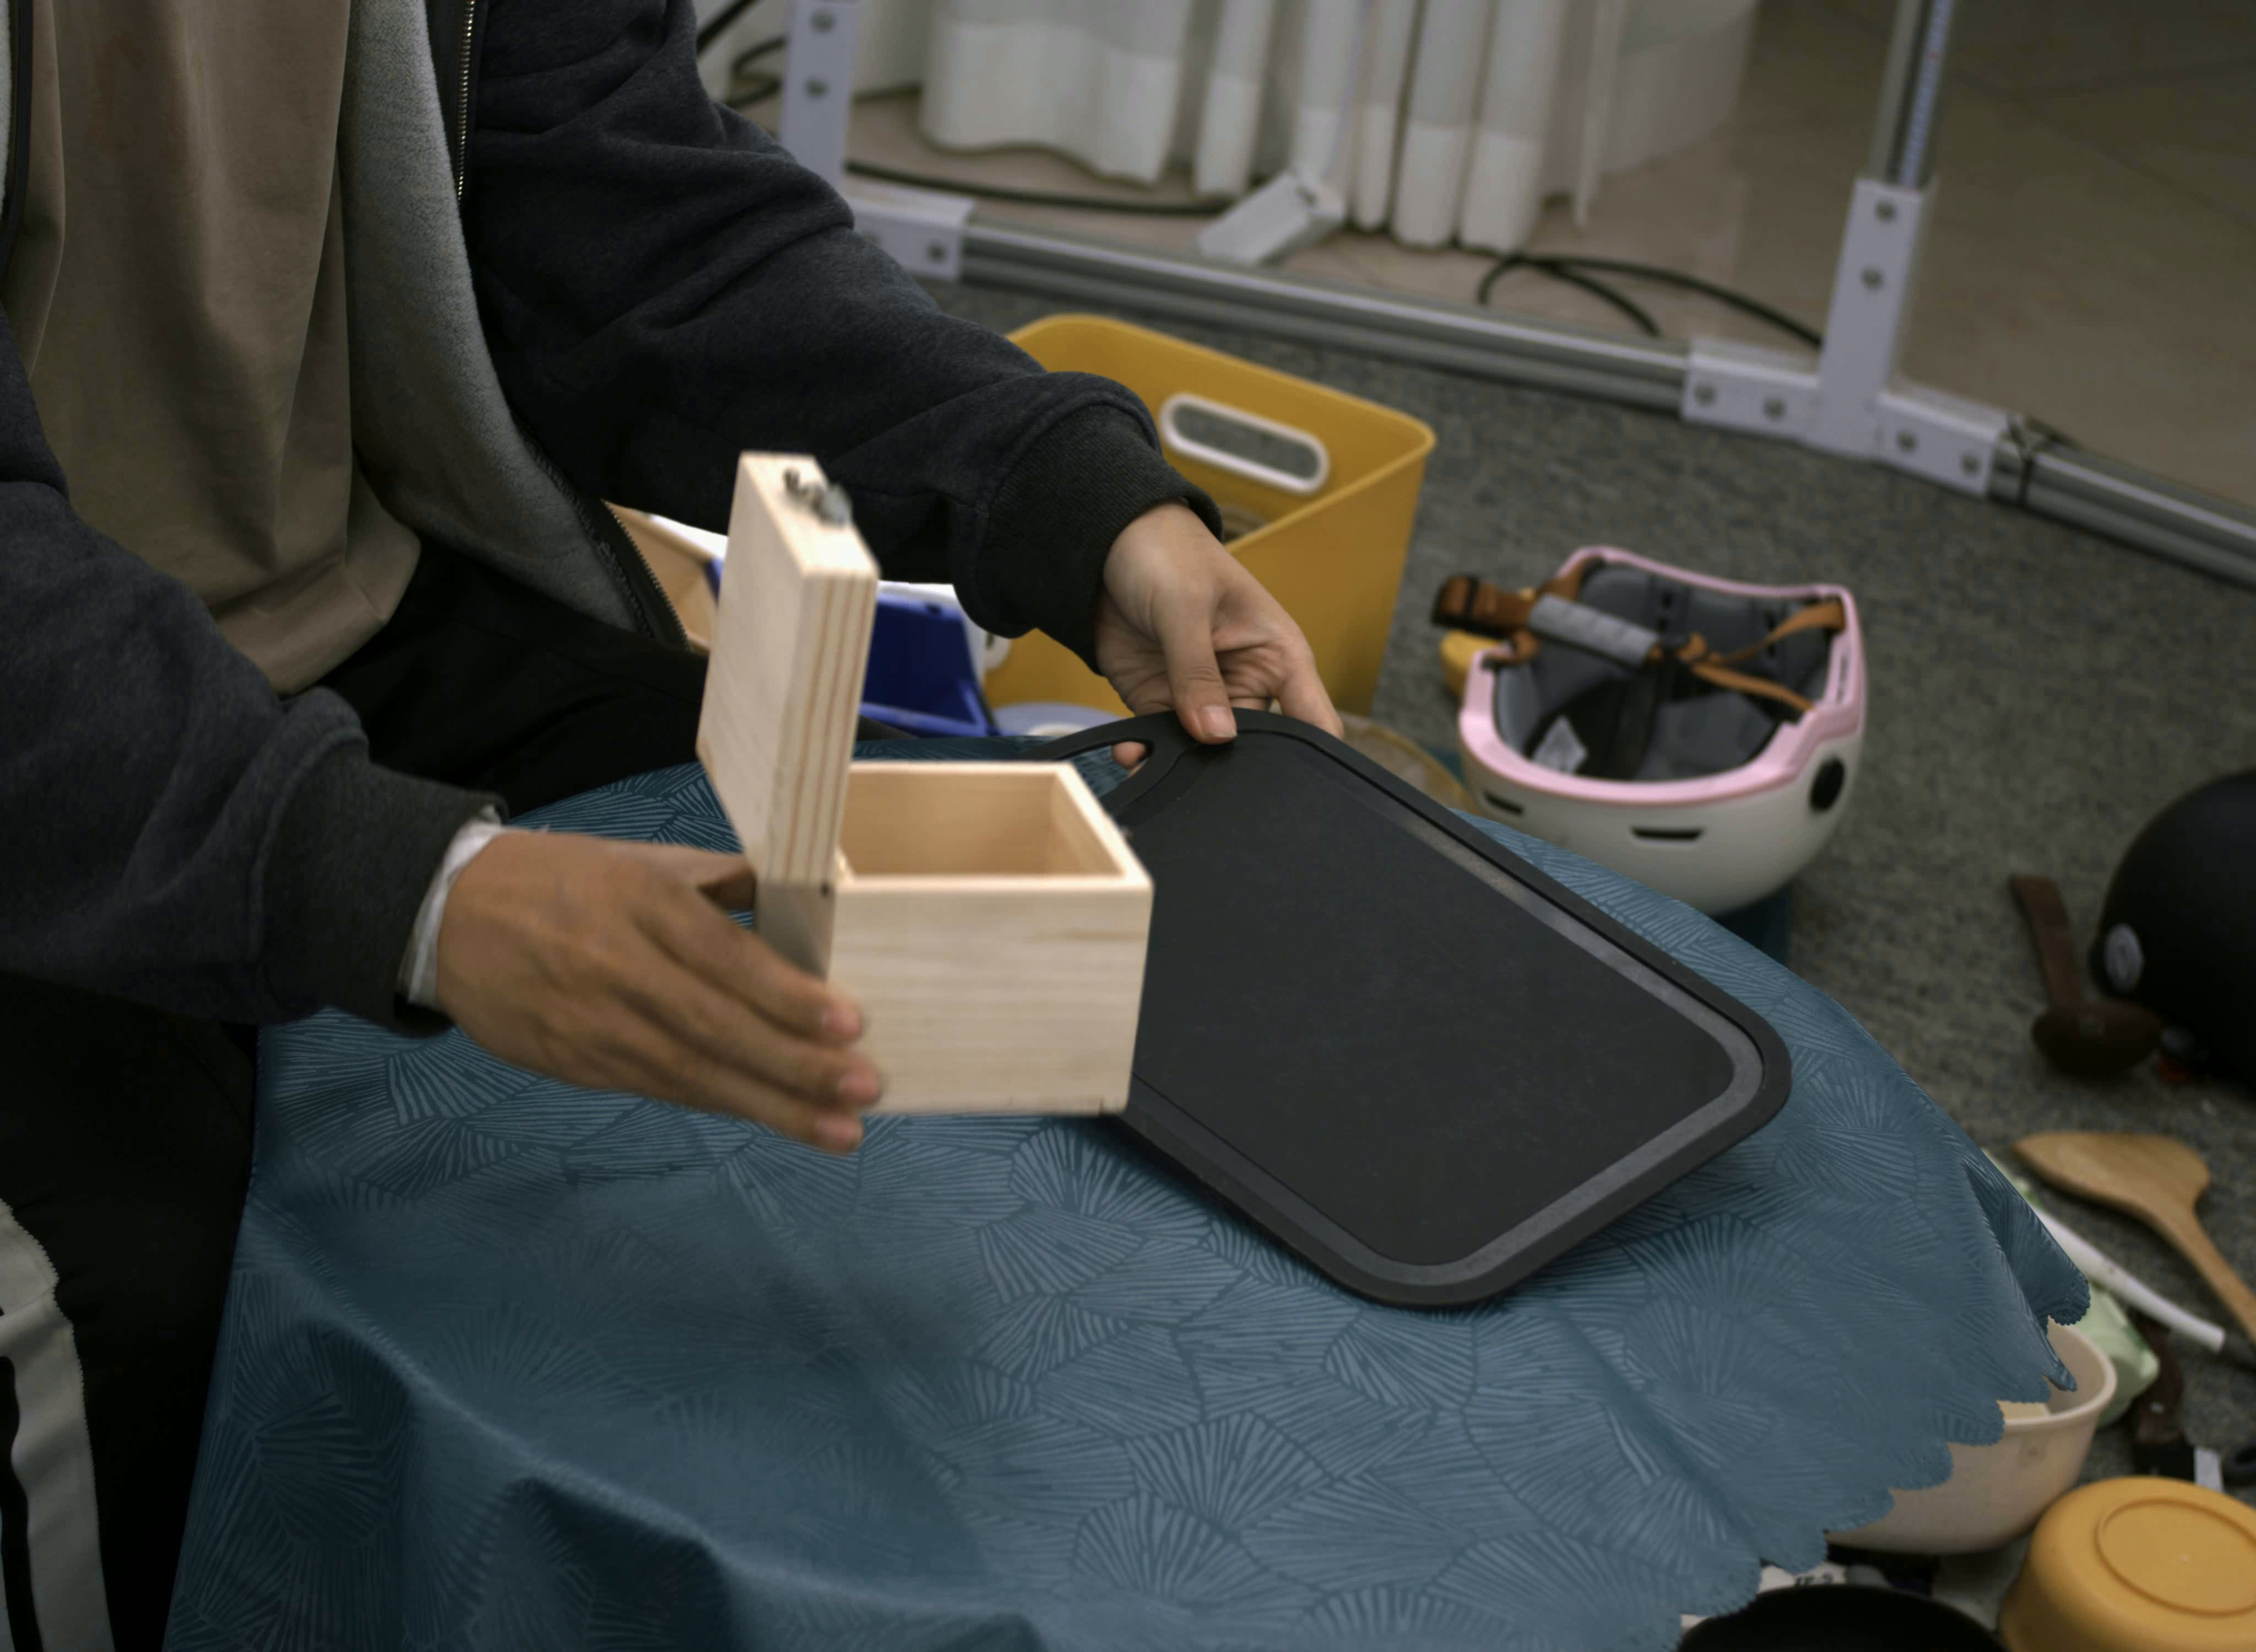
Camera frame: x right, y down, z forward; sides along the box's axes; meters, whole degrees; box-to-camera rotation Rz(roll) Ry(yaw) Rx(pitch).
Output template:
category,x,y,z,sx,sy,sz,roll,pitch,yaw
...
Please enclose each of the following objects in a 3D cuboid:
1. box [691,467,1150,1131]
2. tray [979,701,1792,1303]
category,x,y,z,sx,sy,sz,roll,pitch,yaw
box,-0.062,-0.010,1.651,0.133,0.184,0.103,-1,23,-17
tray,0.064,0.051,1.885,0.210,0.010,0.328,-27,46,-32
